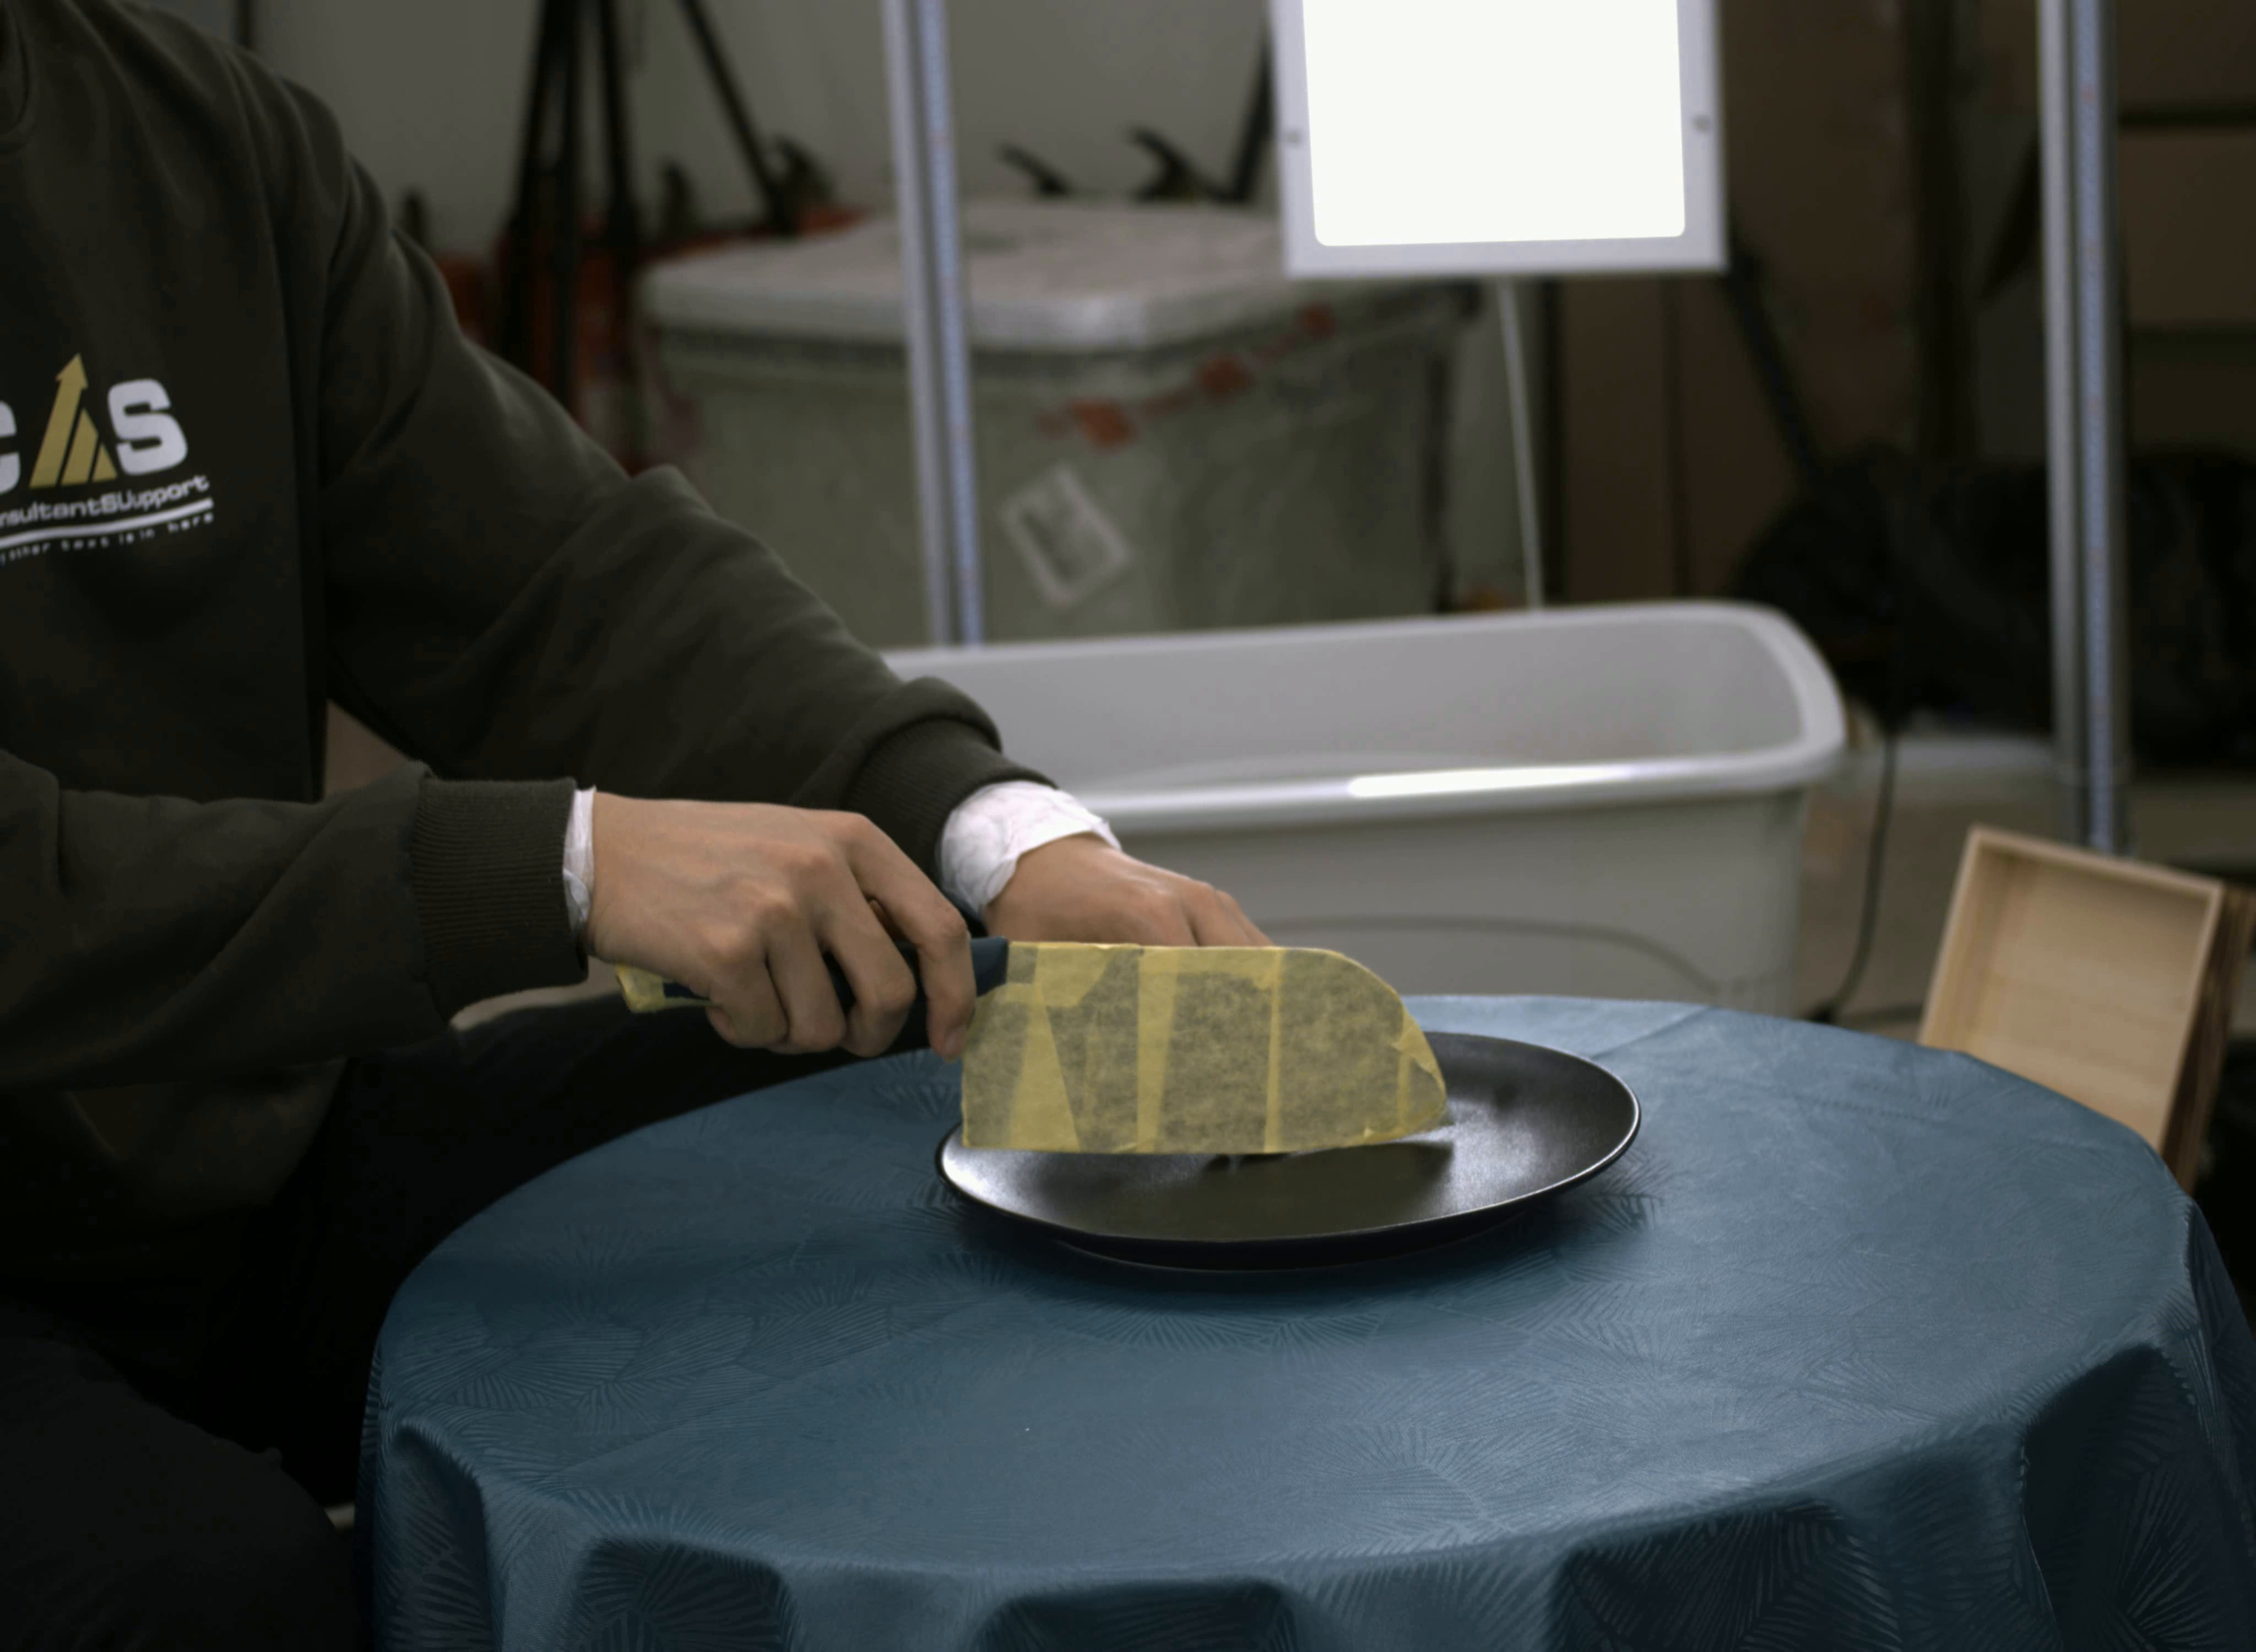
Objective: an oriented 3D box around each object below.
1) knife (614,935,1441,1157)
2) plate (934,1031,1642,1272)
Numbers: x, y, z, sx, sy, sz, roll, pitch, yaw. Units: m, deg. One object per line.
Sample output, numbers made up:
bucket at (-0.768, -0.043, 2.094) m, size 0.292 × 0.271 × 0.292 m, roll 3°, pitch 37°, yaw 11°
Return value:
knife at (-0.033, 0.073, 1.888) m, size 0.287 × 0.081 × 0.027 m, roll 5°, pitch 4°, yaw -4°
plate at (0.056, 0.114, 1.886) m, size 0.244 × 0.023 × 0.244 m, roll -5°, pitch 13°, yaw 0°
